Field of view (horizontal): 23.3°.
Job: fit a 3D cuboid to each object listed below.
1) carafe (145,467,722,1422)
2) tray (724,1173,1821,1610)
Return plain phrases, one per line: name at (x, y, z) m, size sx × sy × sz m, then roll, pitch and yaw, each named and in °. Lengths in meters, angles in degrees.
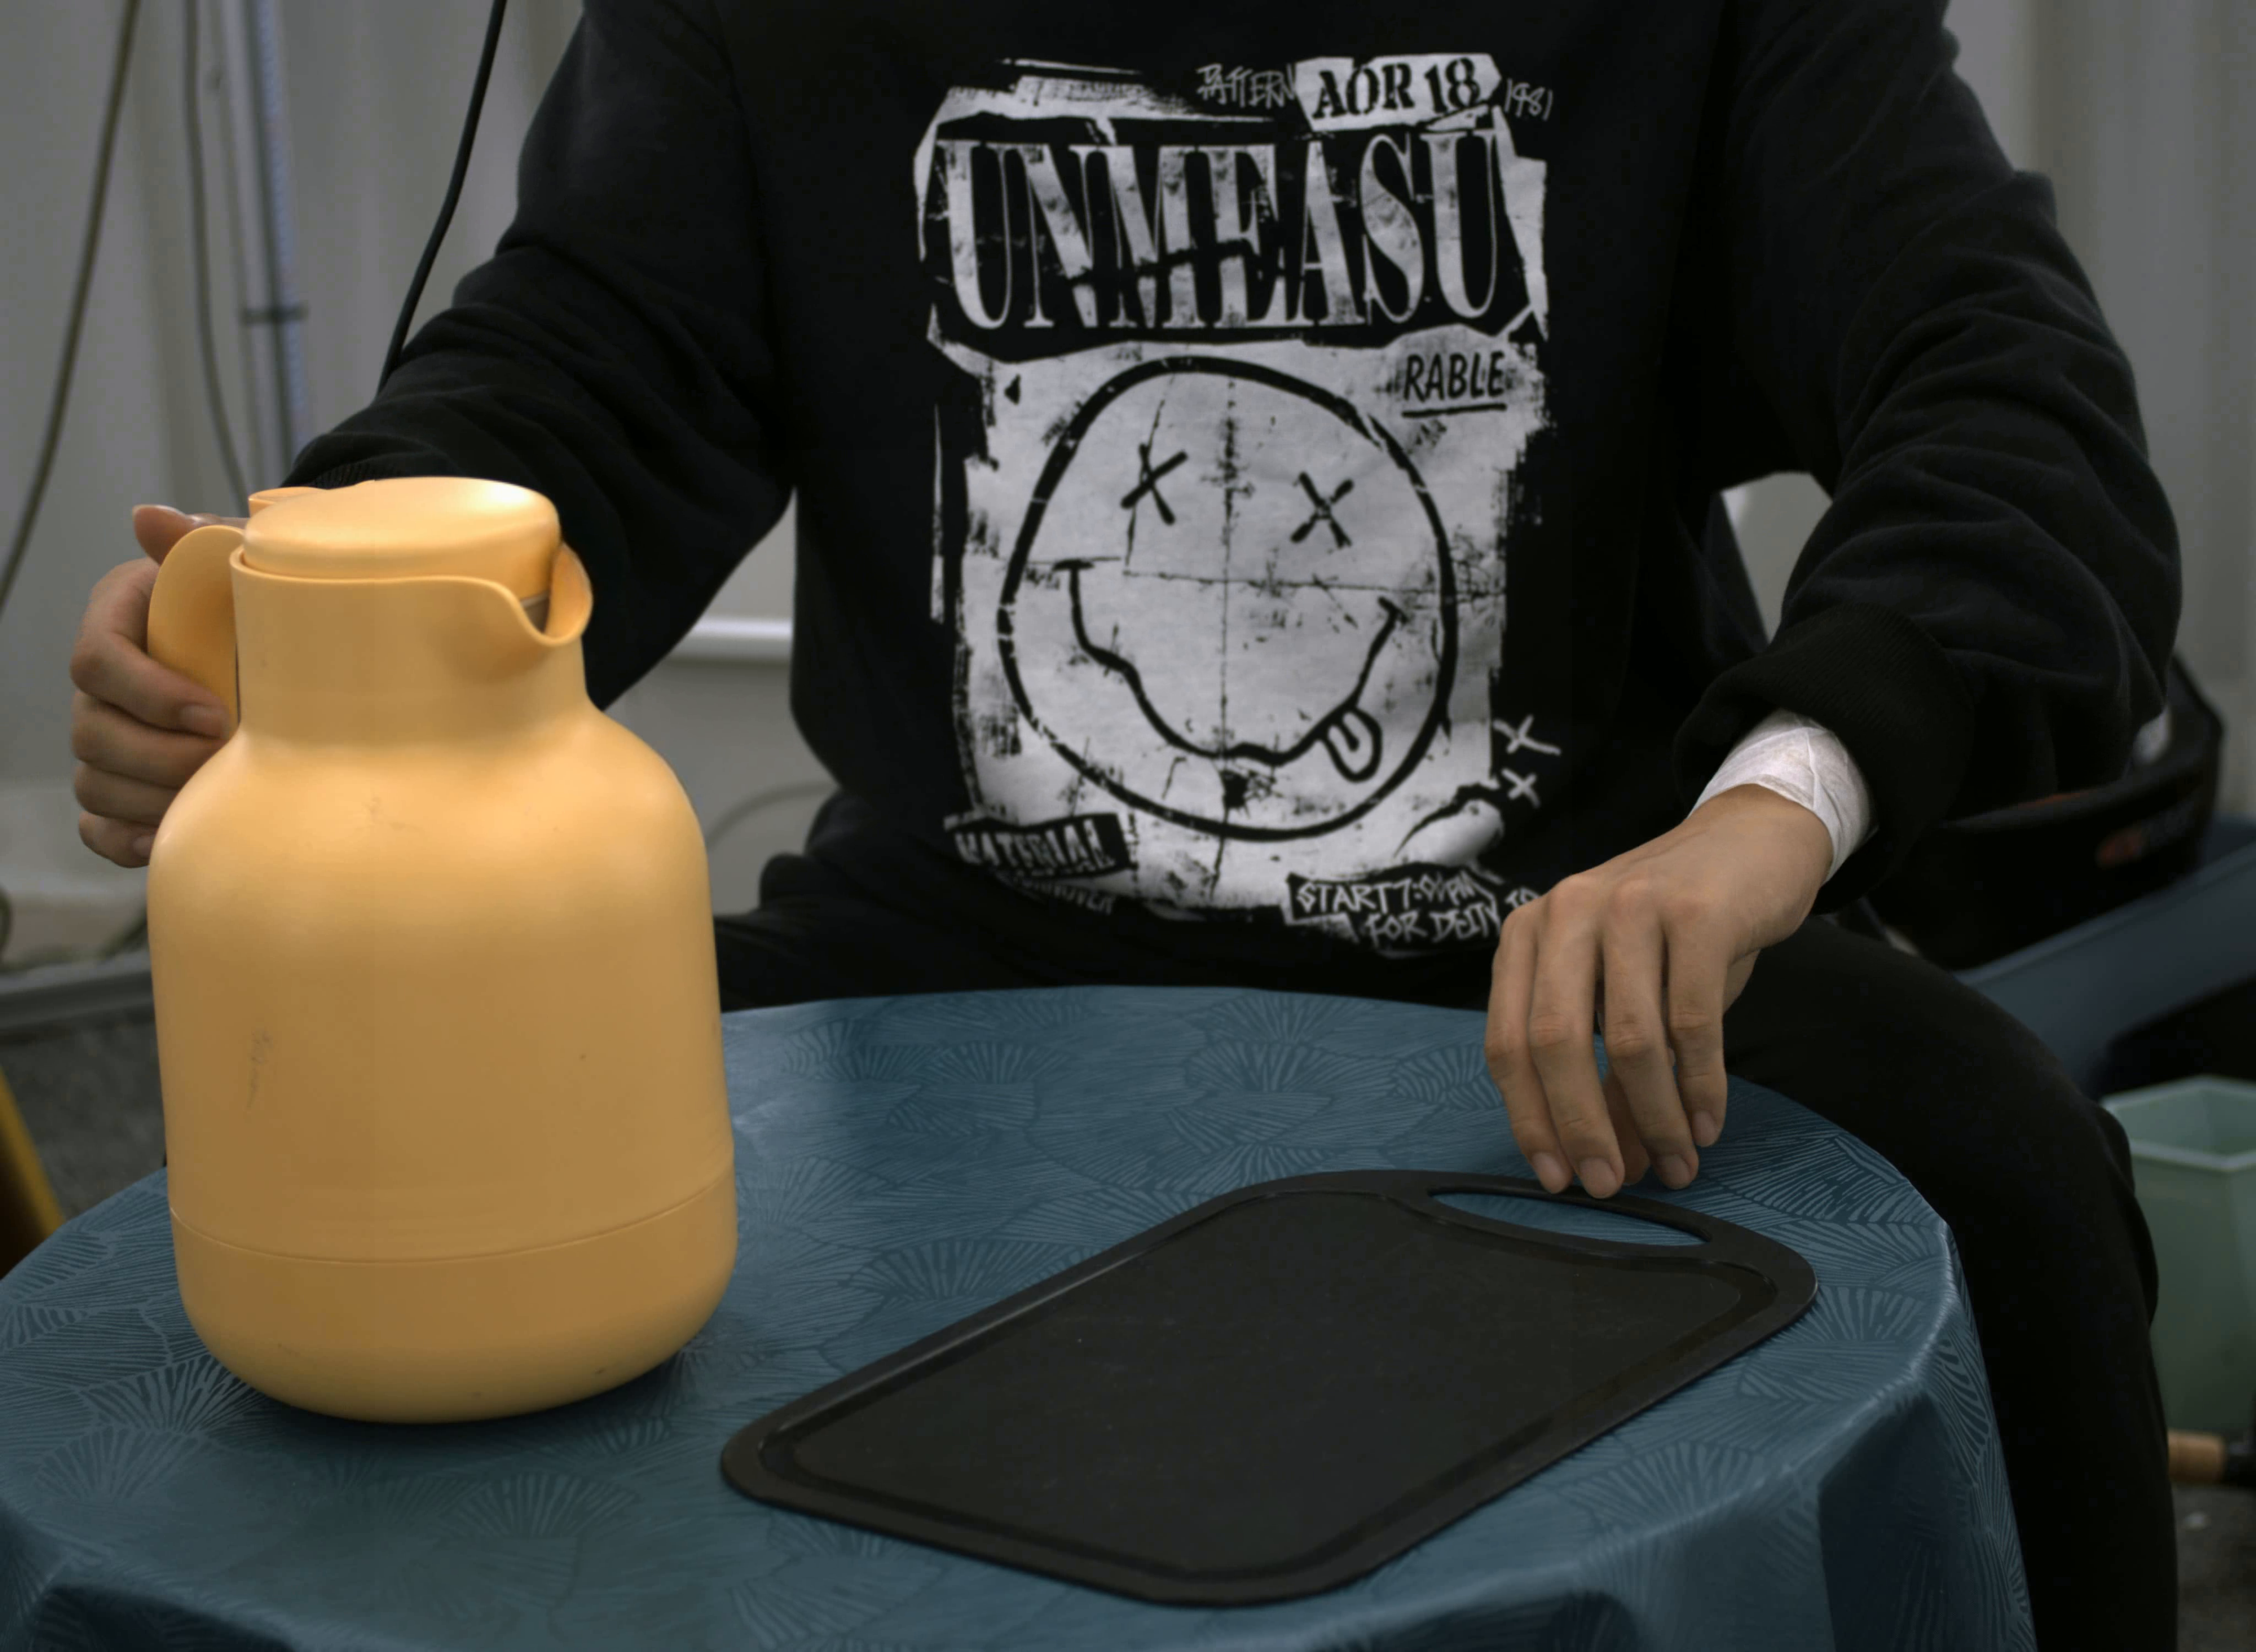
carafe at (-0.211, 0.026, 1.583) m, size 0.163 × 0.259 × 0.204 m, roll -11°, pitch 17°, yaw -39°
tray at (0.050, 0.151, 1.556) m, size 0.212 × 0.010 × 0.325 m, roll 9°, pitch 19°, yaw 37°
